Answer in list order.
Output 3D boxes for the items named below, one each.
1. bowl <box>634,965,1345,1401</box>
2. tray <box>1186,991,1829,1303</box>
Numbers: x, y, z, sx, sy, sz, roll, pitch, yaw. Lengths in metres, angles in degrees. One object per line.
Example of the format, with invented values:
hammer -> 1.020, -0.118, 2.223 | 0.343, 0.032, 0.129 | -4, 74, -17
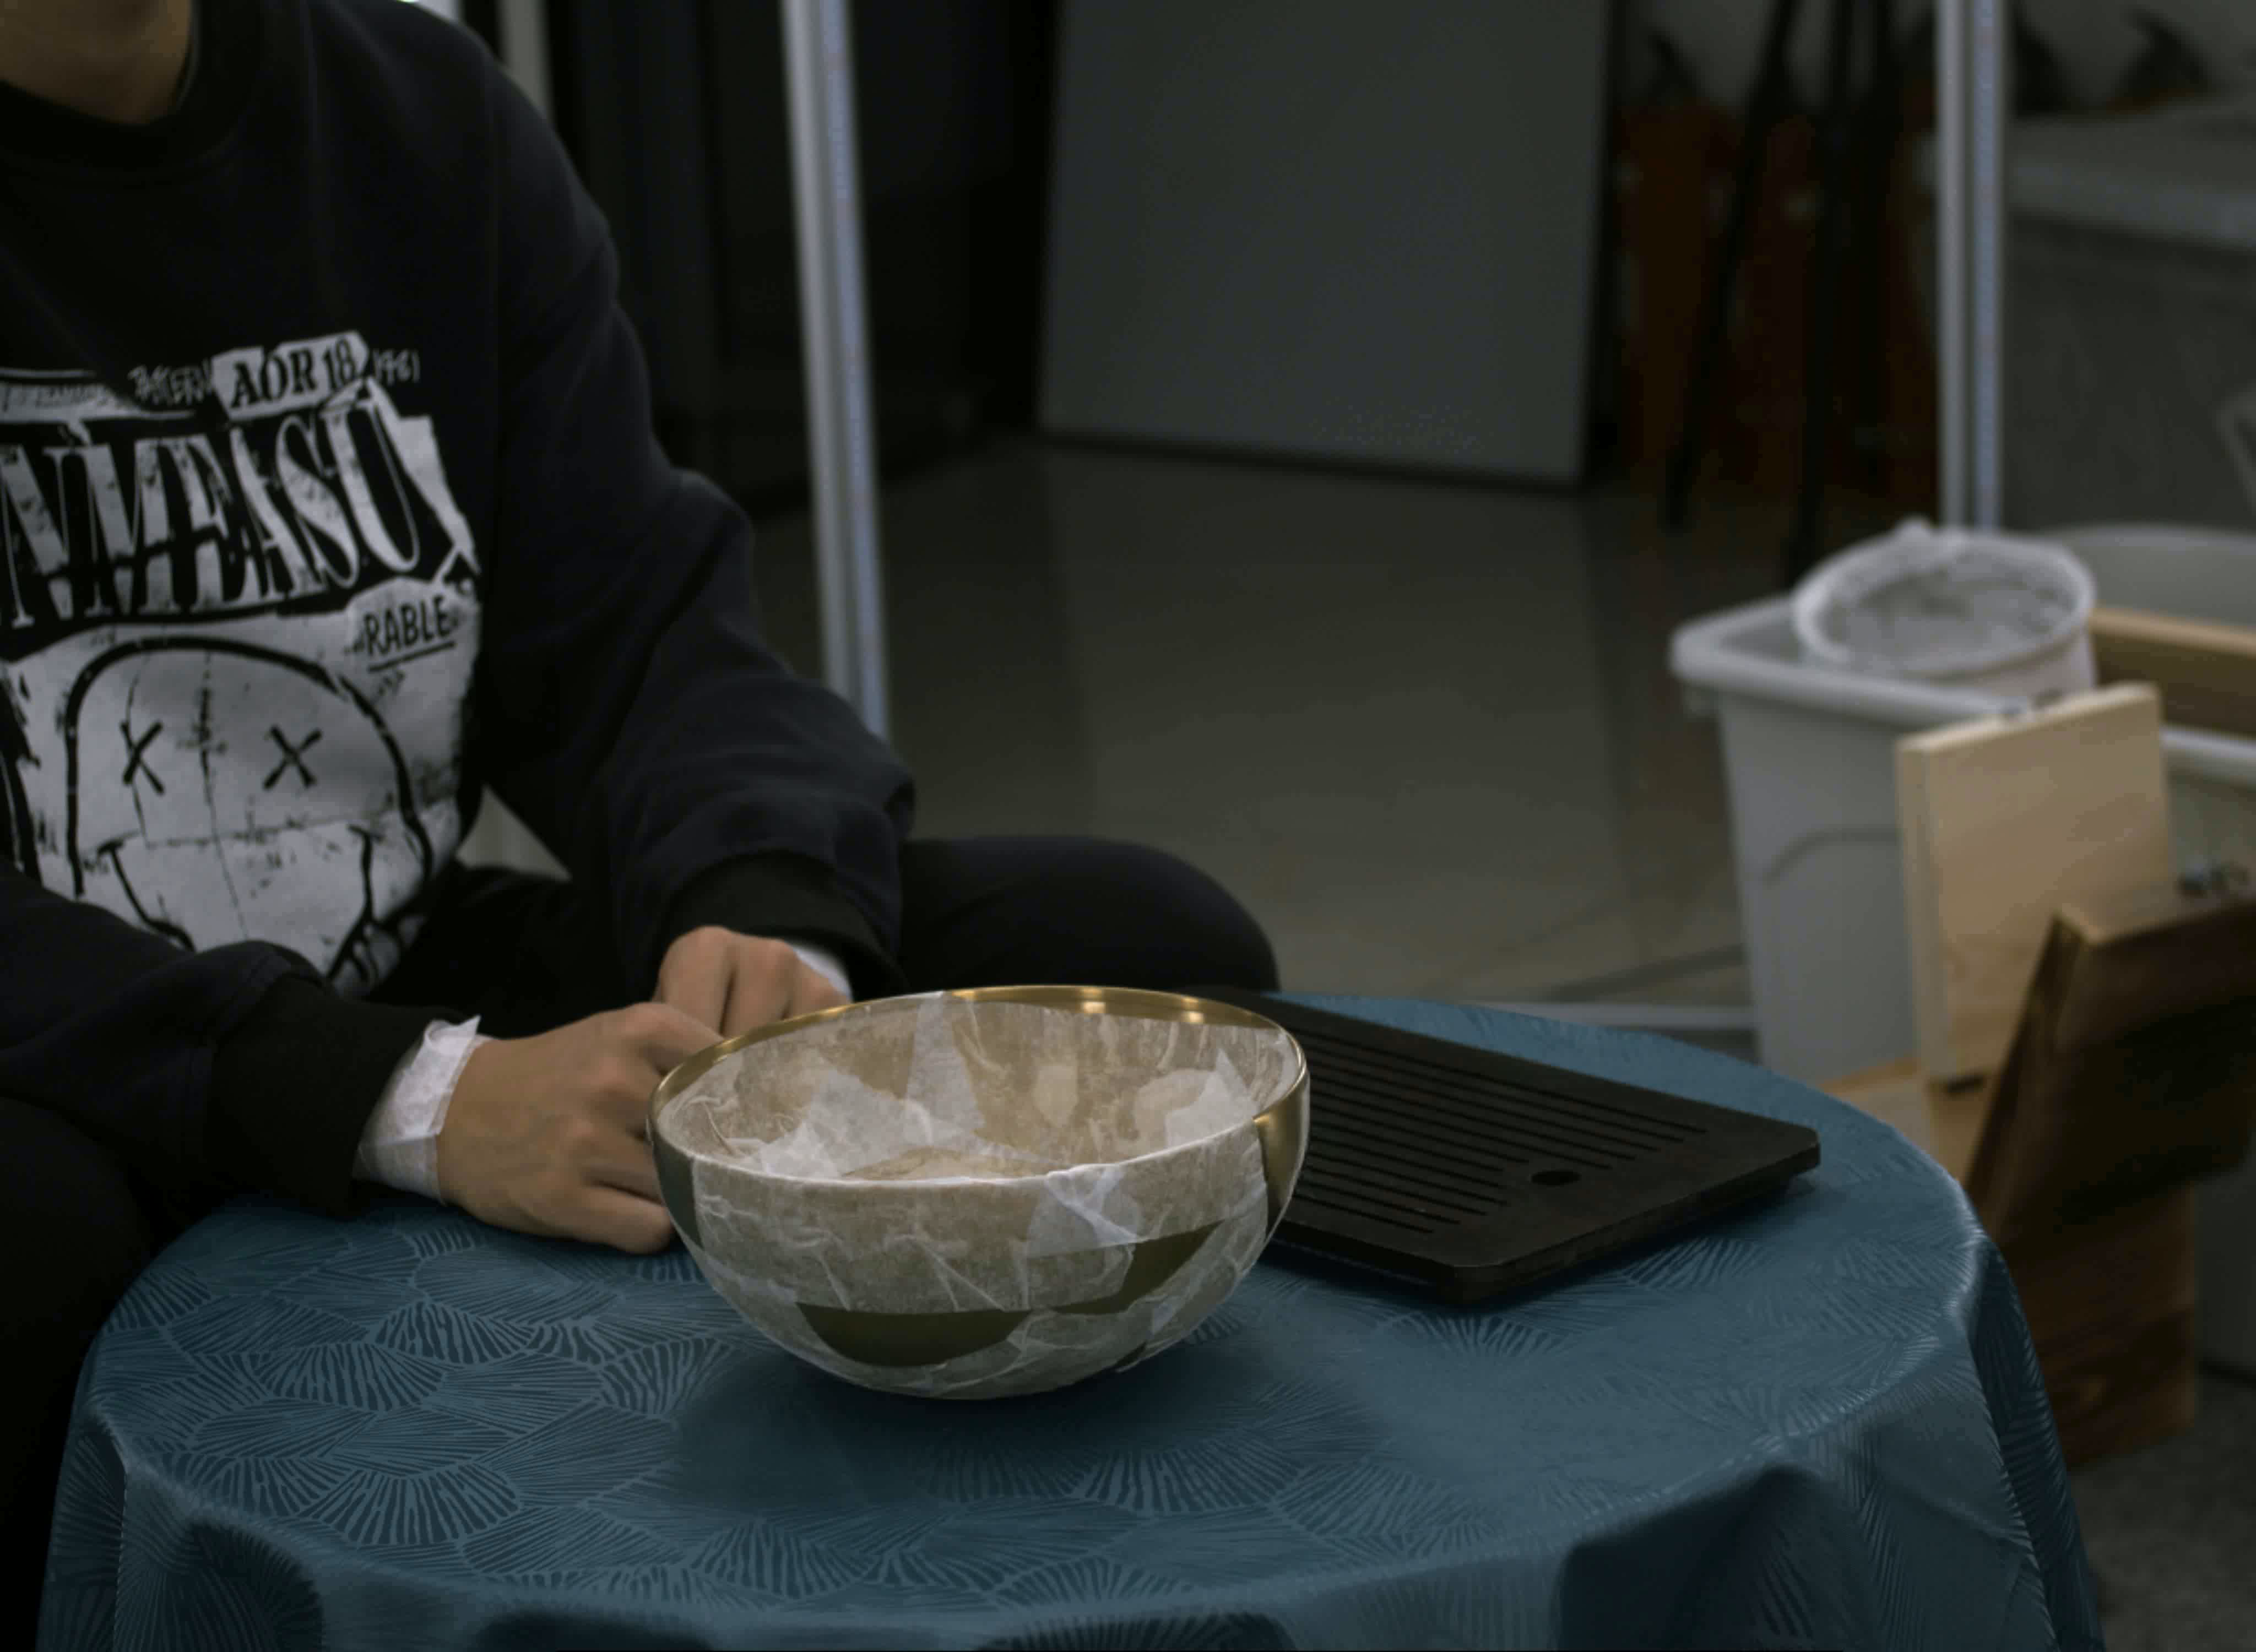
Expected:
bowl -> -0.039, 0.115, 1.611 | 0.212, 0.095, 0.215 | -5, 14, 0
tray -> 0.069, 0.103, 1.787 | 0.166, 0.019, 0.309 | -15, 18, -39
